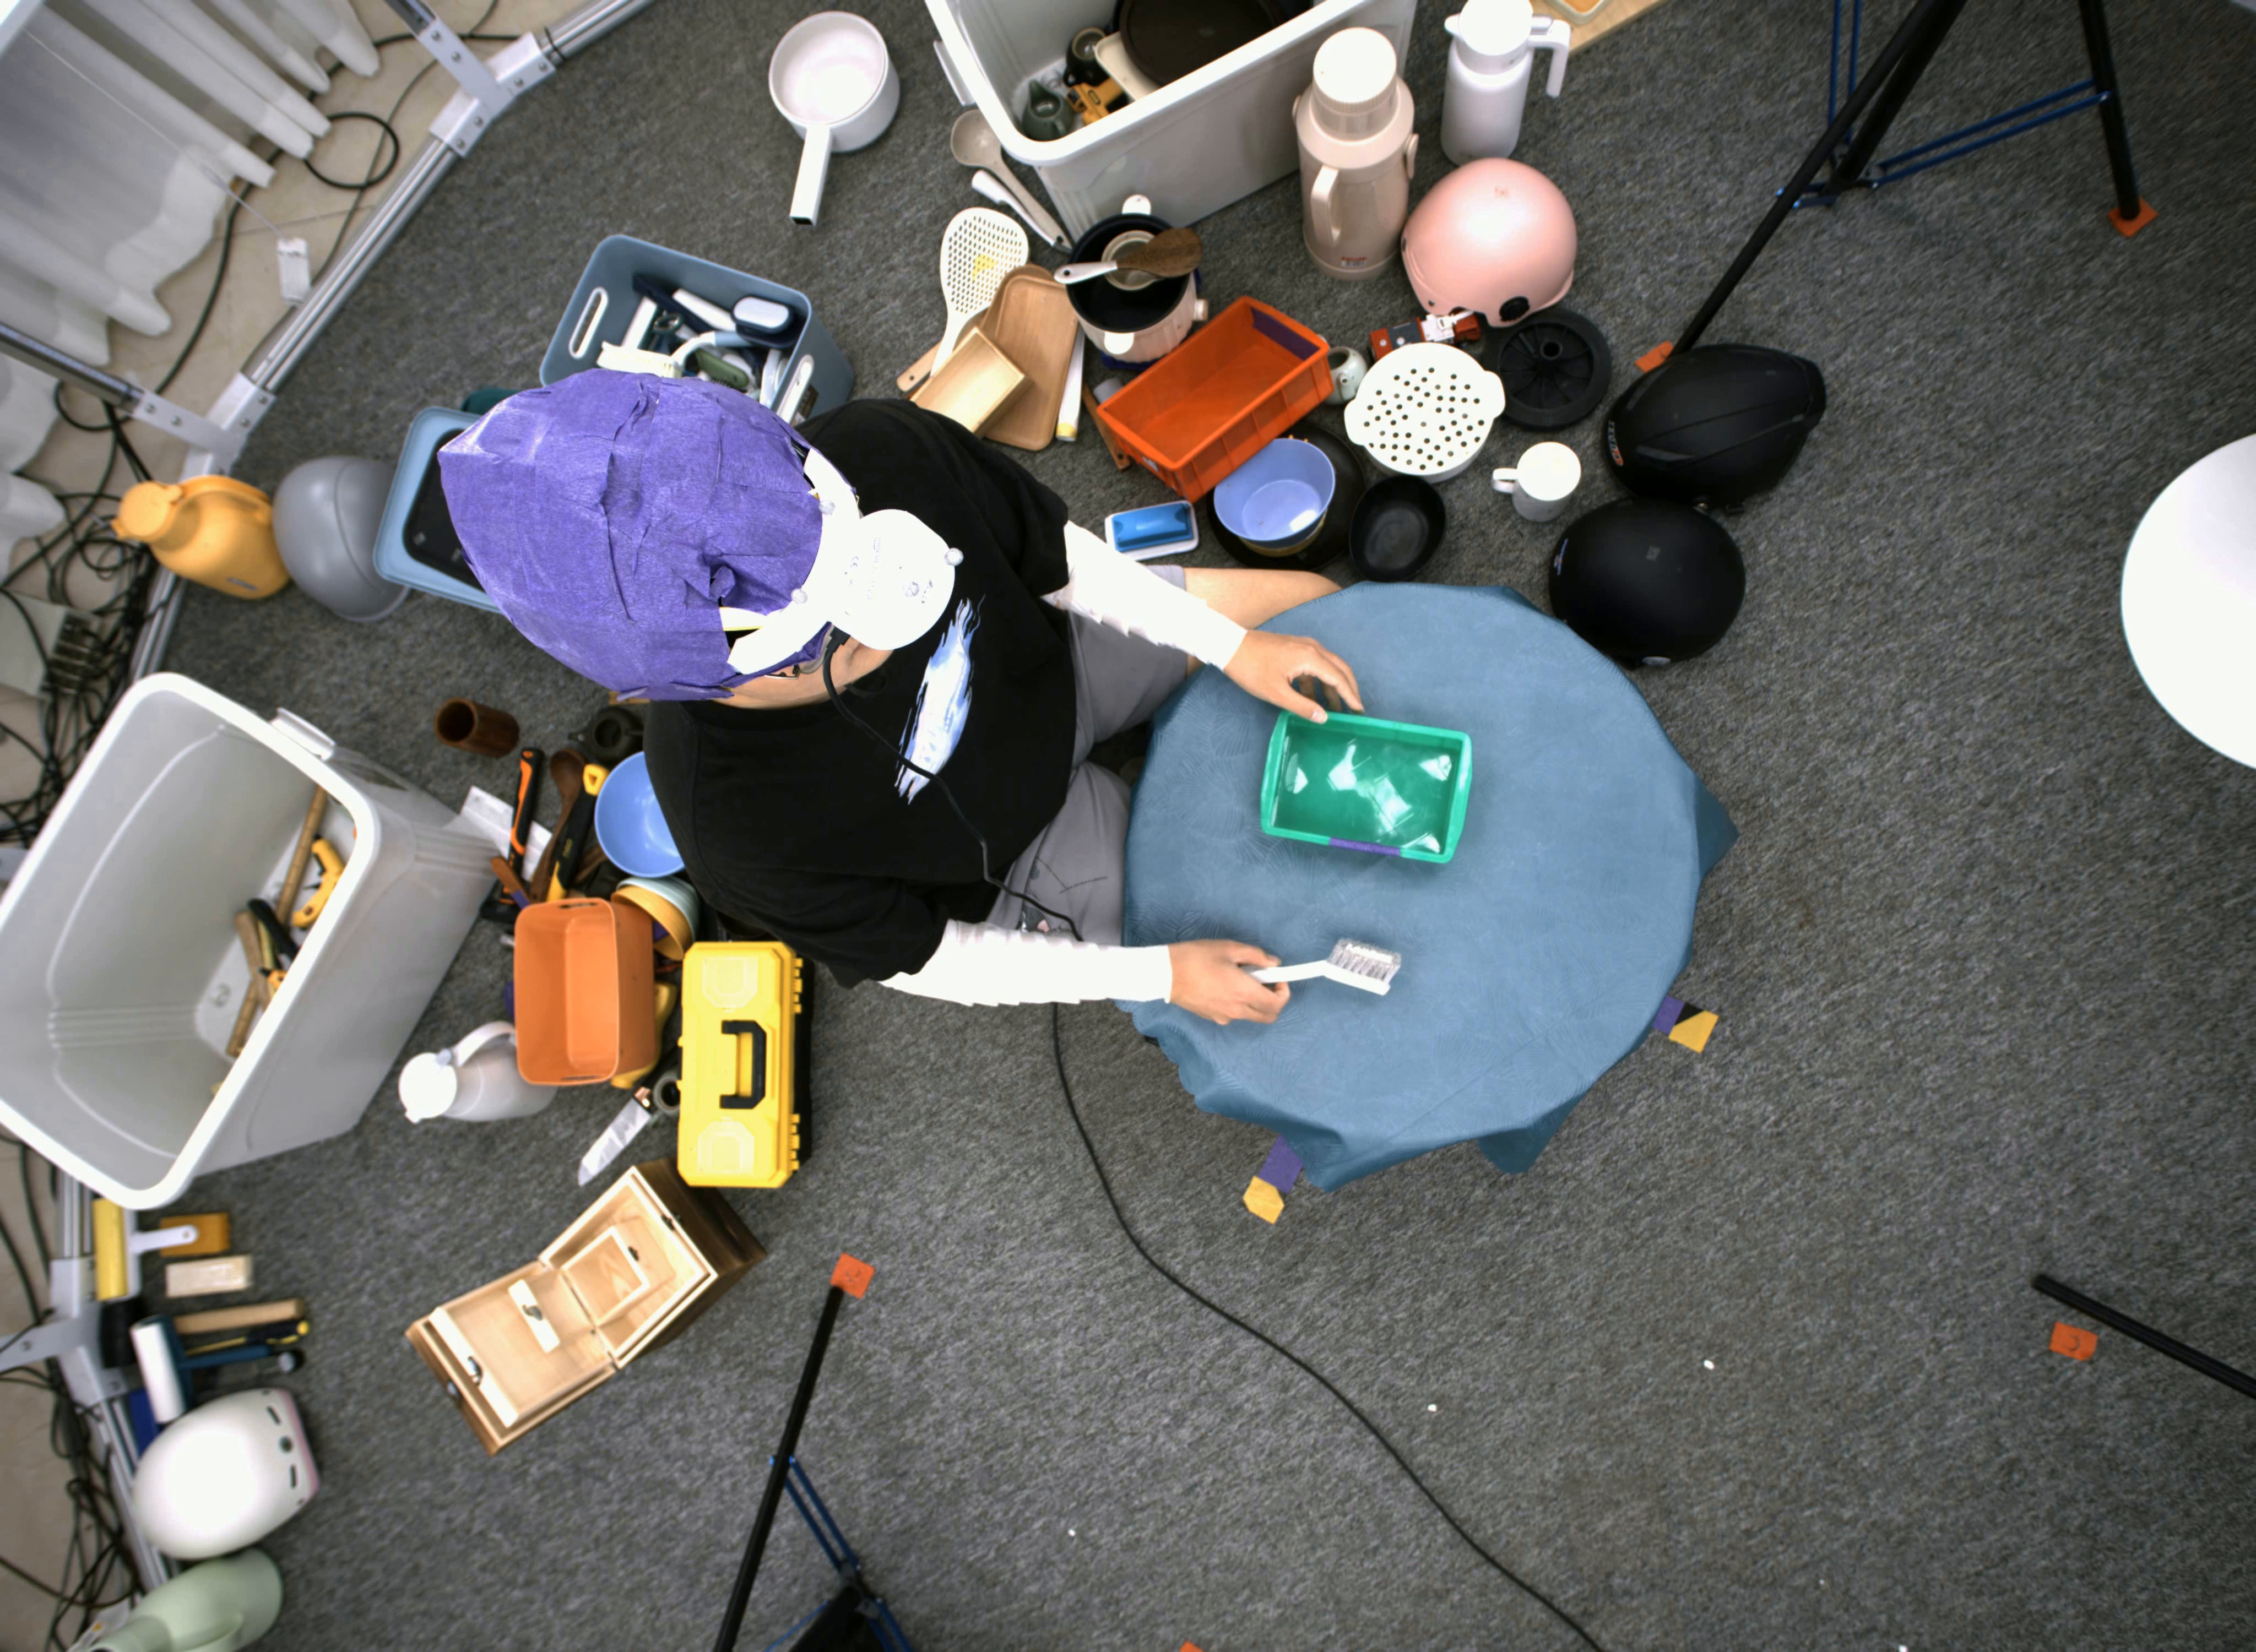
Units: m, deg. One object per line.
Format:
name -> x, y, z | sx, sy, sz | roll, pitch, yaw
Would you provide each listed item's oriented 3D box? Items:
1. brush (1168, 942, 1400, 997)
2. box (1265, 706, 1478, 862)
brush -> 0.158, 0.143, 1.434 | 0.245, 0.033, 0.051 | 1, 113, 17
box -> 0.253, -0.043, 1.437 | 0.211, 0.065, 0.138 | 8, 90, 12
